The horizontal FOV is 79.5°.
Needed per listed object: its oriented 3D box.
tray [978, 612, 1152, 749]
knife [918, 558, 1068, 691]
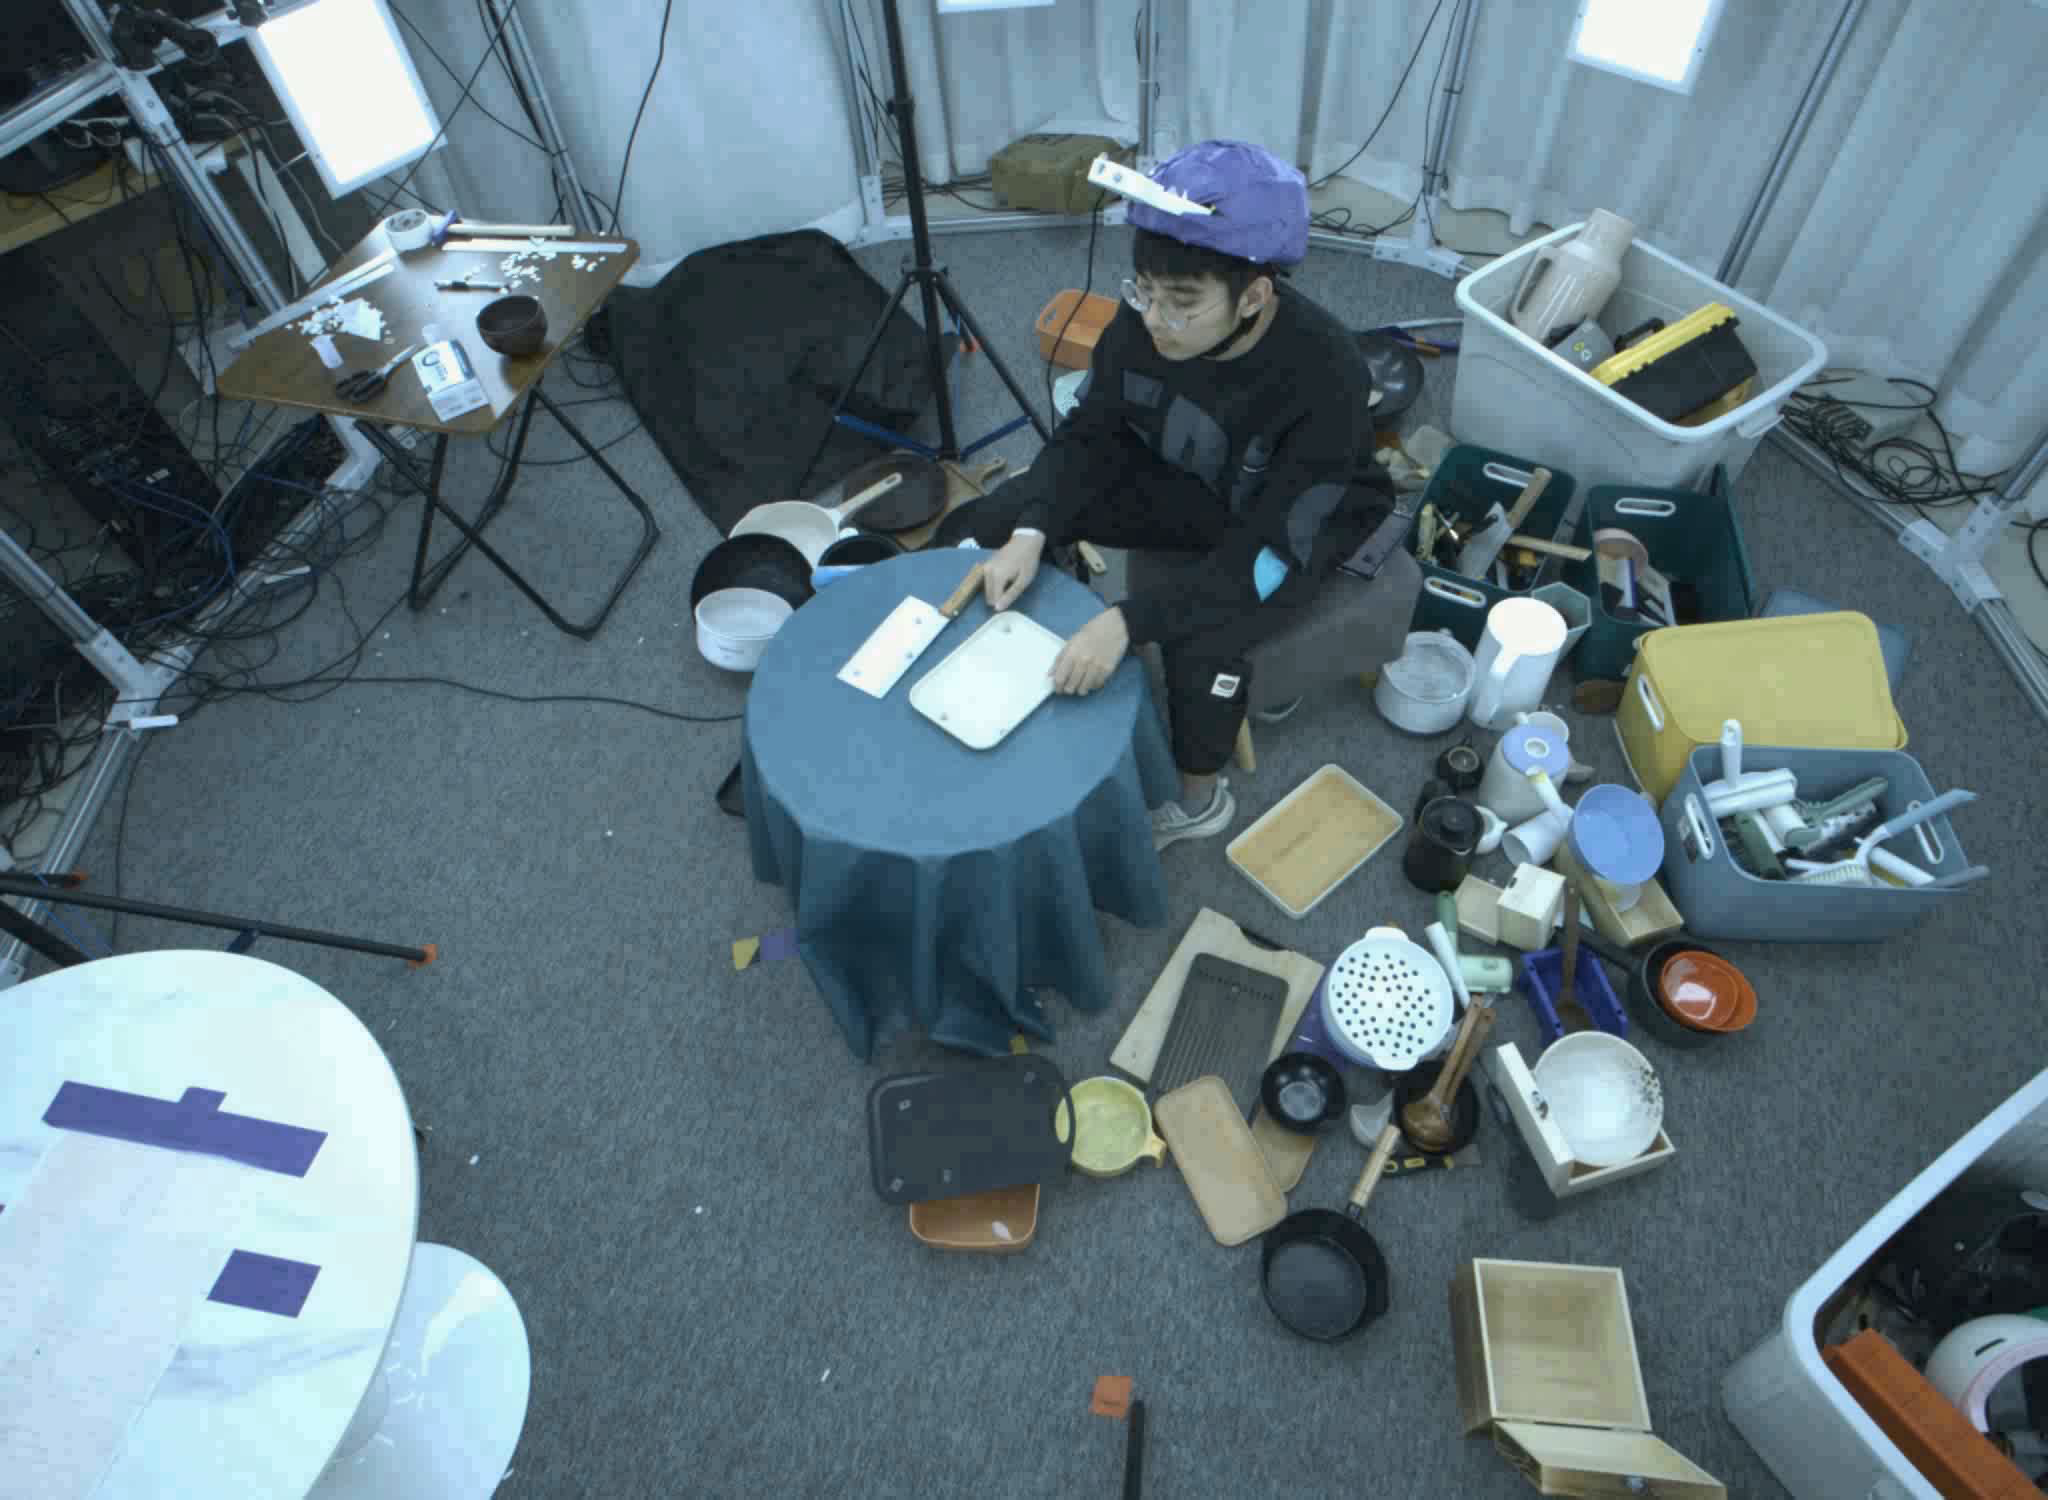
[{"bbox_3d":[0.063,-0.106,1.848,0.241,0.017,0.168,-39,61,-23],"label":"tray"},{"bbox_3d":[-0.052,-0.210,1.928,0.091,0.021,0.307,31,64,23],"label":"knife"}]
